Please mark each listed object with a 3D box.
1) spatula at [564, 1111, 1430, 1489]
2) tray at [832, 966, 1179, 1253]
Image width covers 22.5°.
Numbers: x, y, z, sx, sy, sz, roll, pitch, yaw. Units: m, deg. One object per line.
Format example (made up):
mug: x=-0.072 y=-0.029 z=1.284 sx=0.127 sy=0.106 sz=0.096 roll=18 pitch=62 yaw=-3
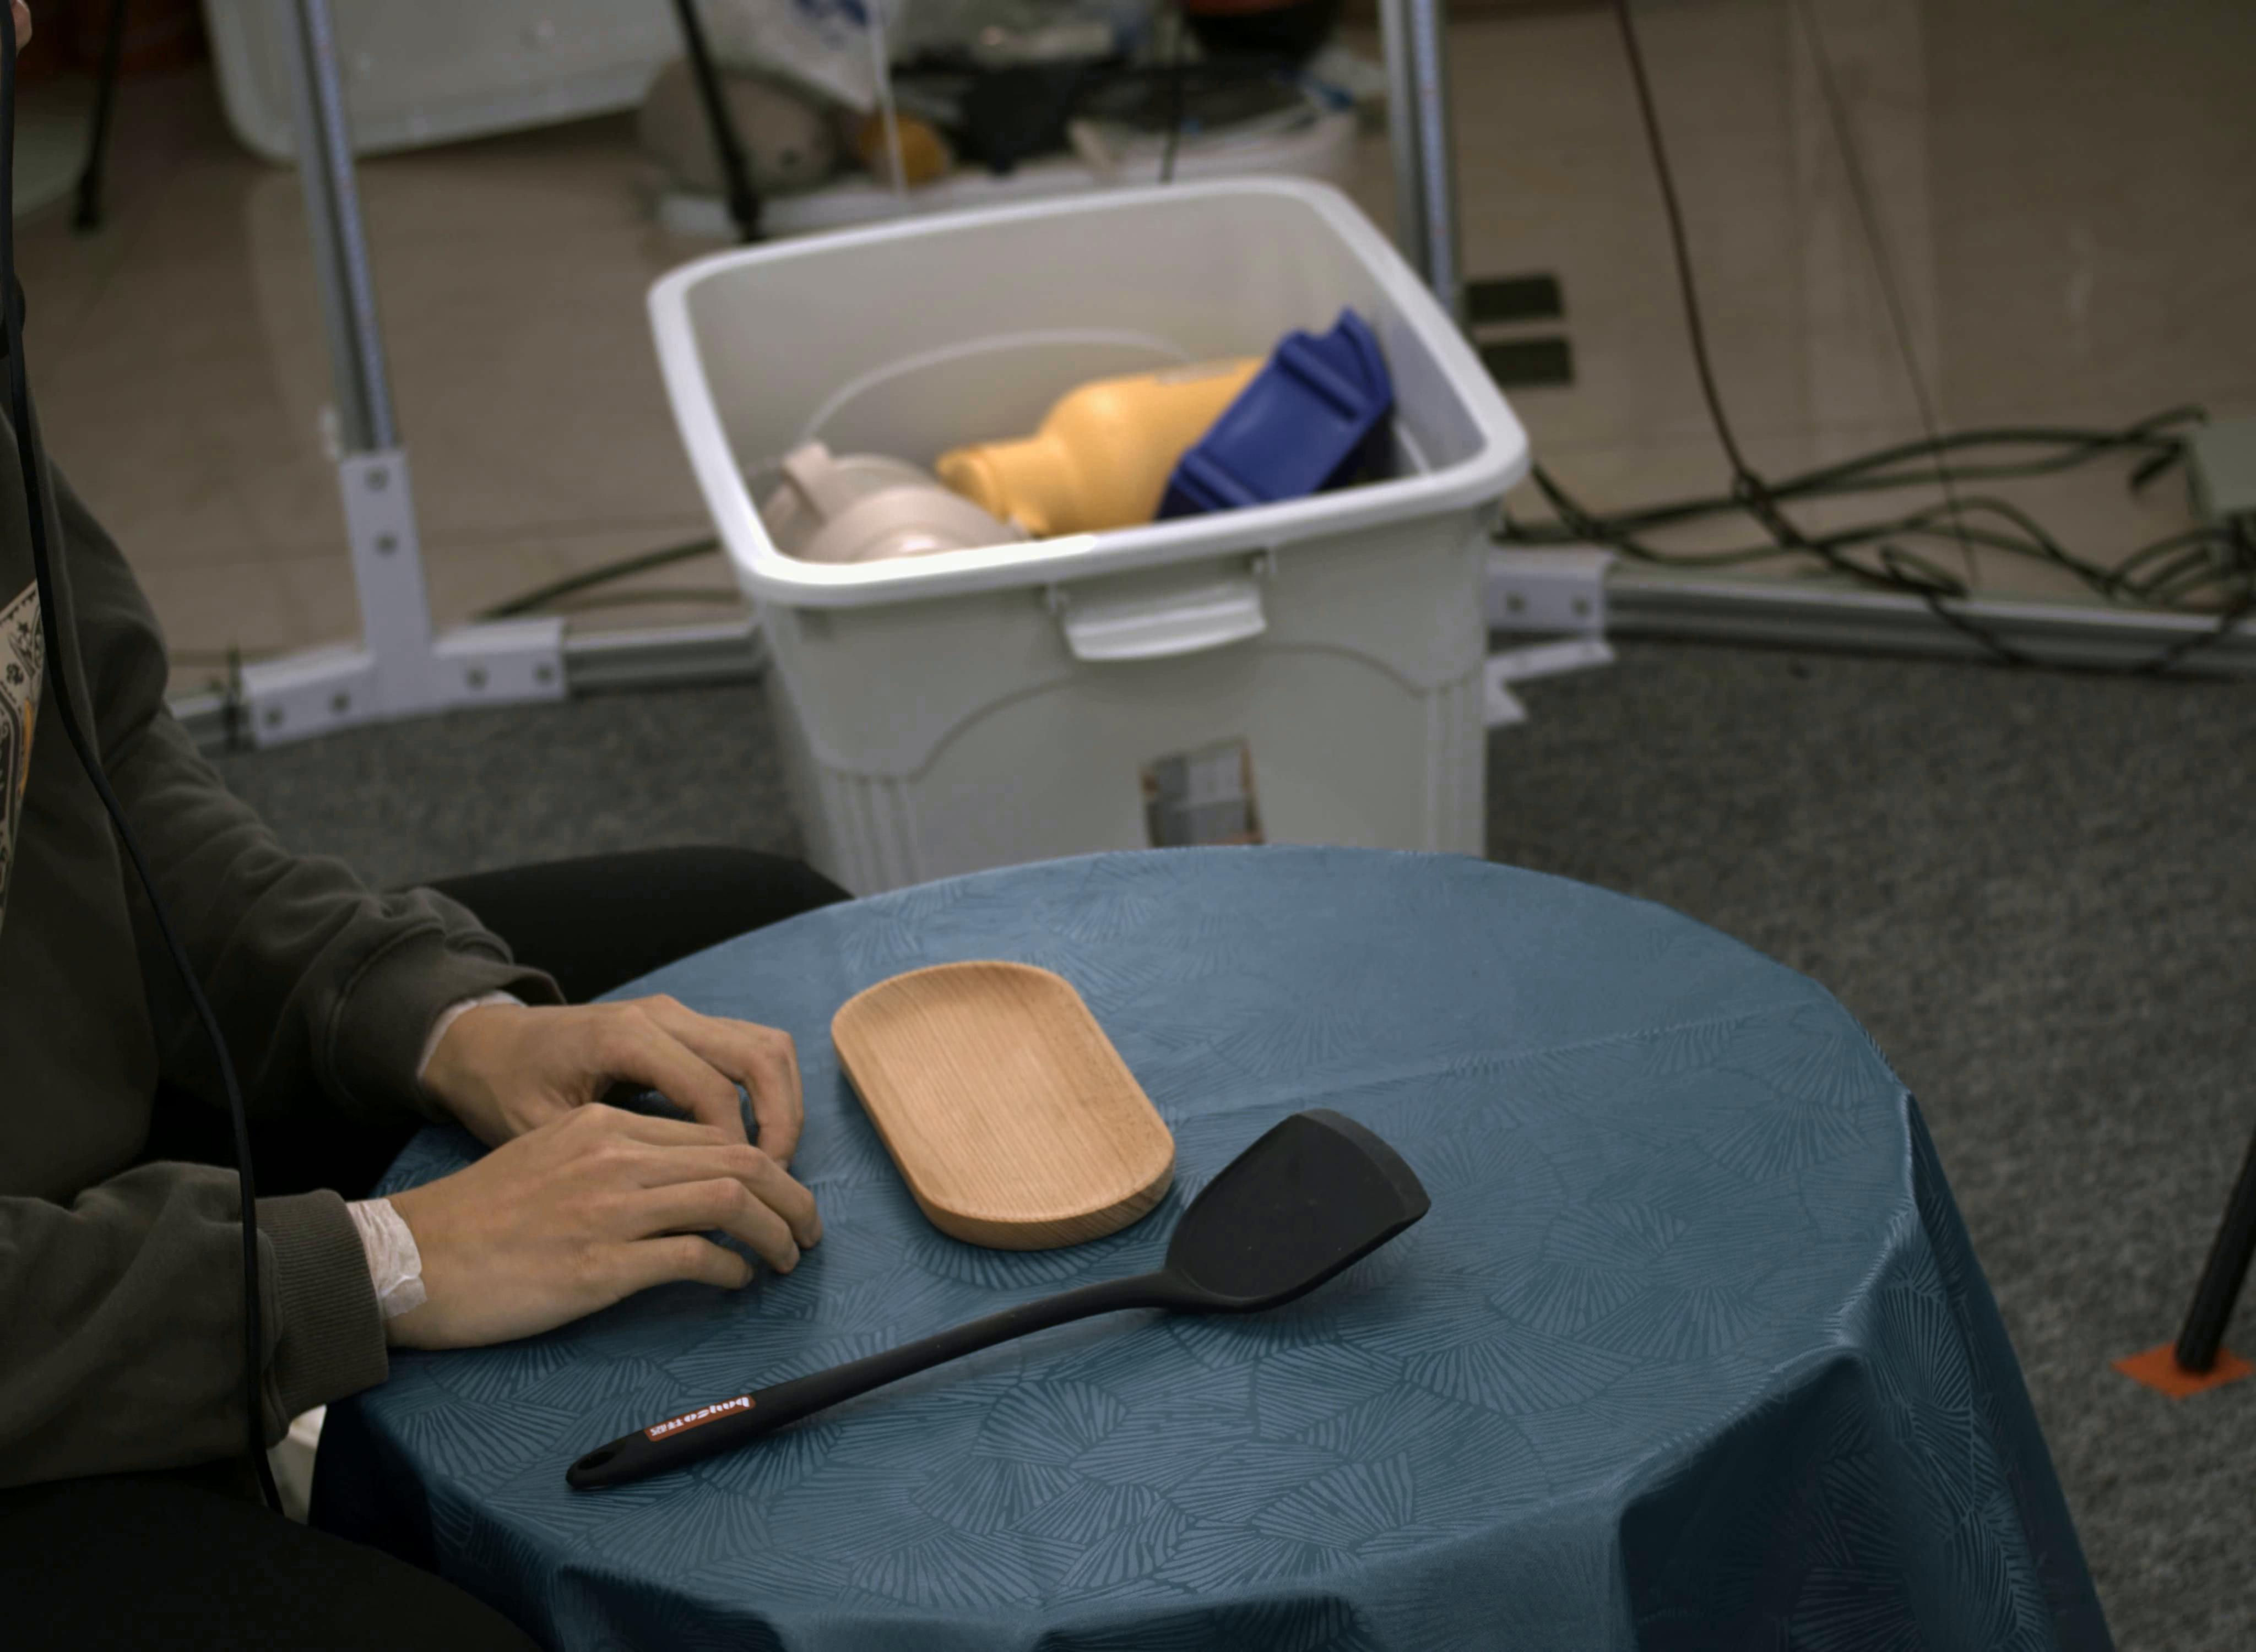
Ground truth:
spatula: x=-0.050 y=0.176 z=2.036 sx=0.325 sy=0.041 sz=0.098 roll=-15 pitch=25 yaw=-18
tray: x=-0.049 y=0.109 z=2.206 sx=0.101 sy=0.020 sz=0.228 roll=-13 pitch=27 yaw=-12
